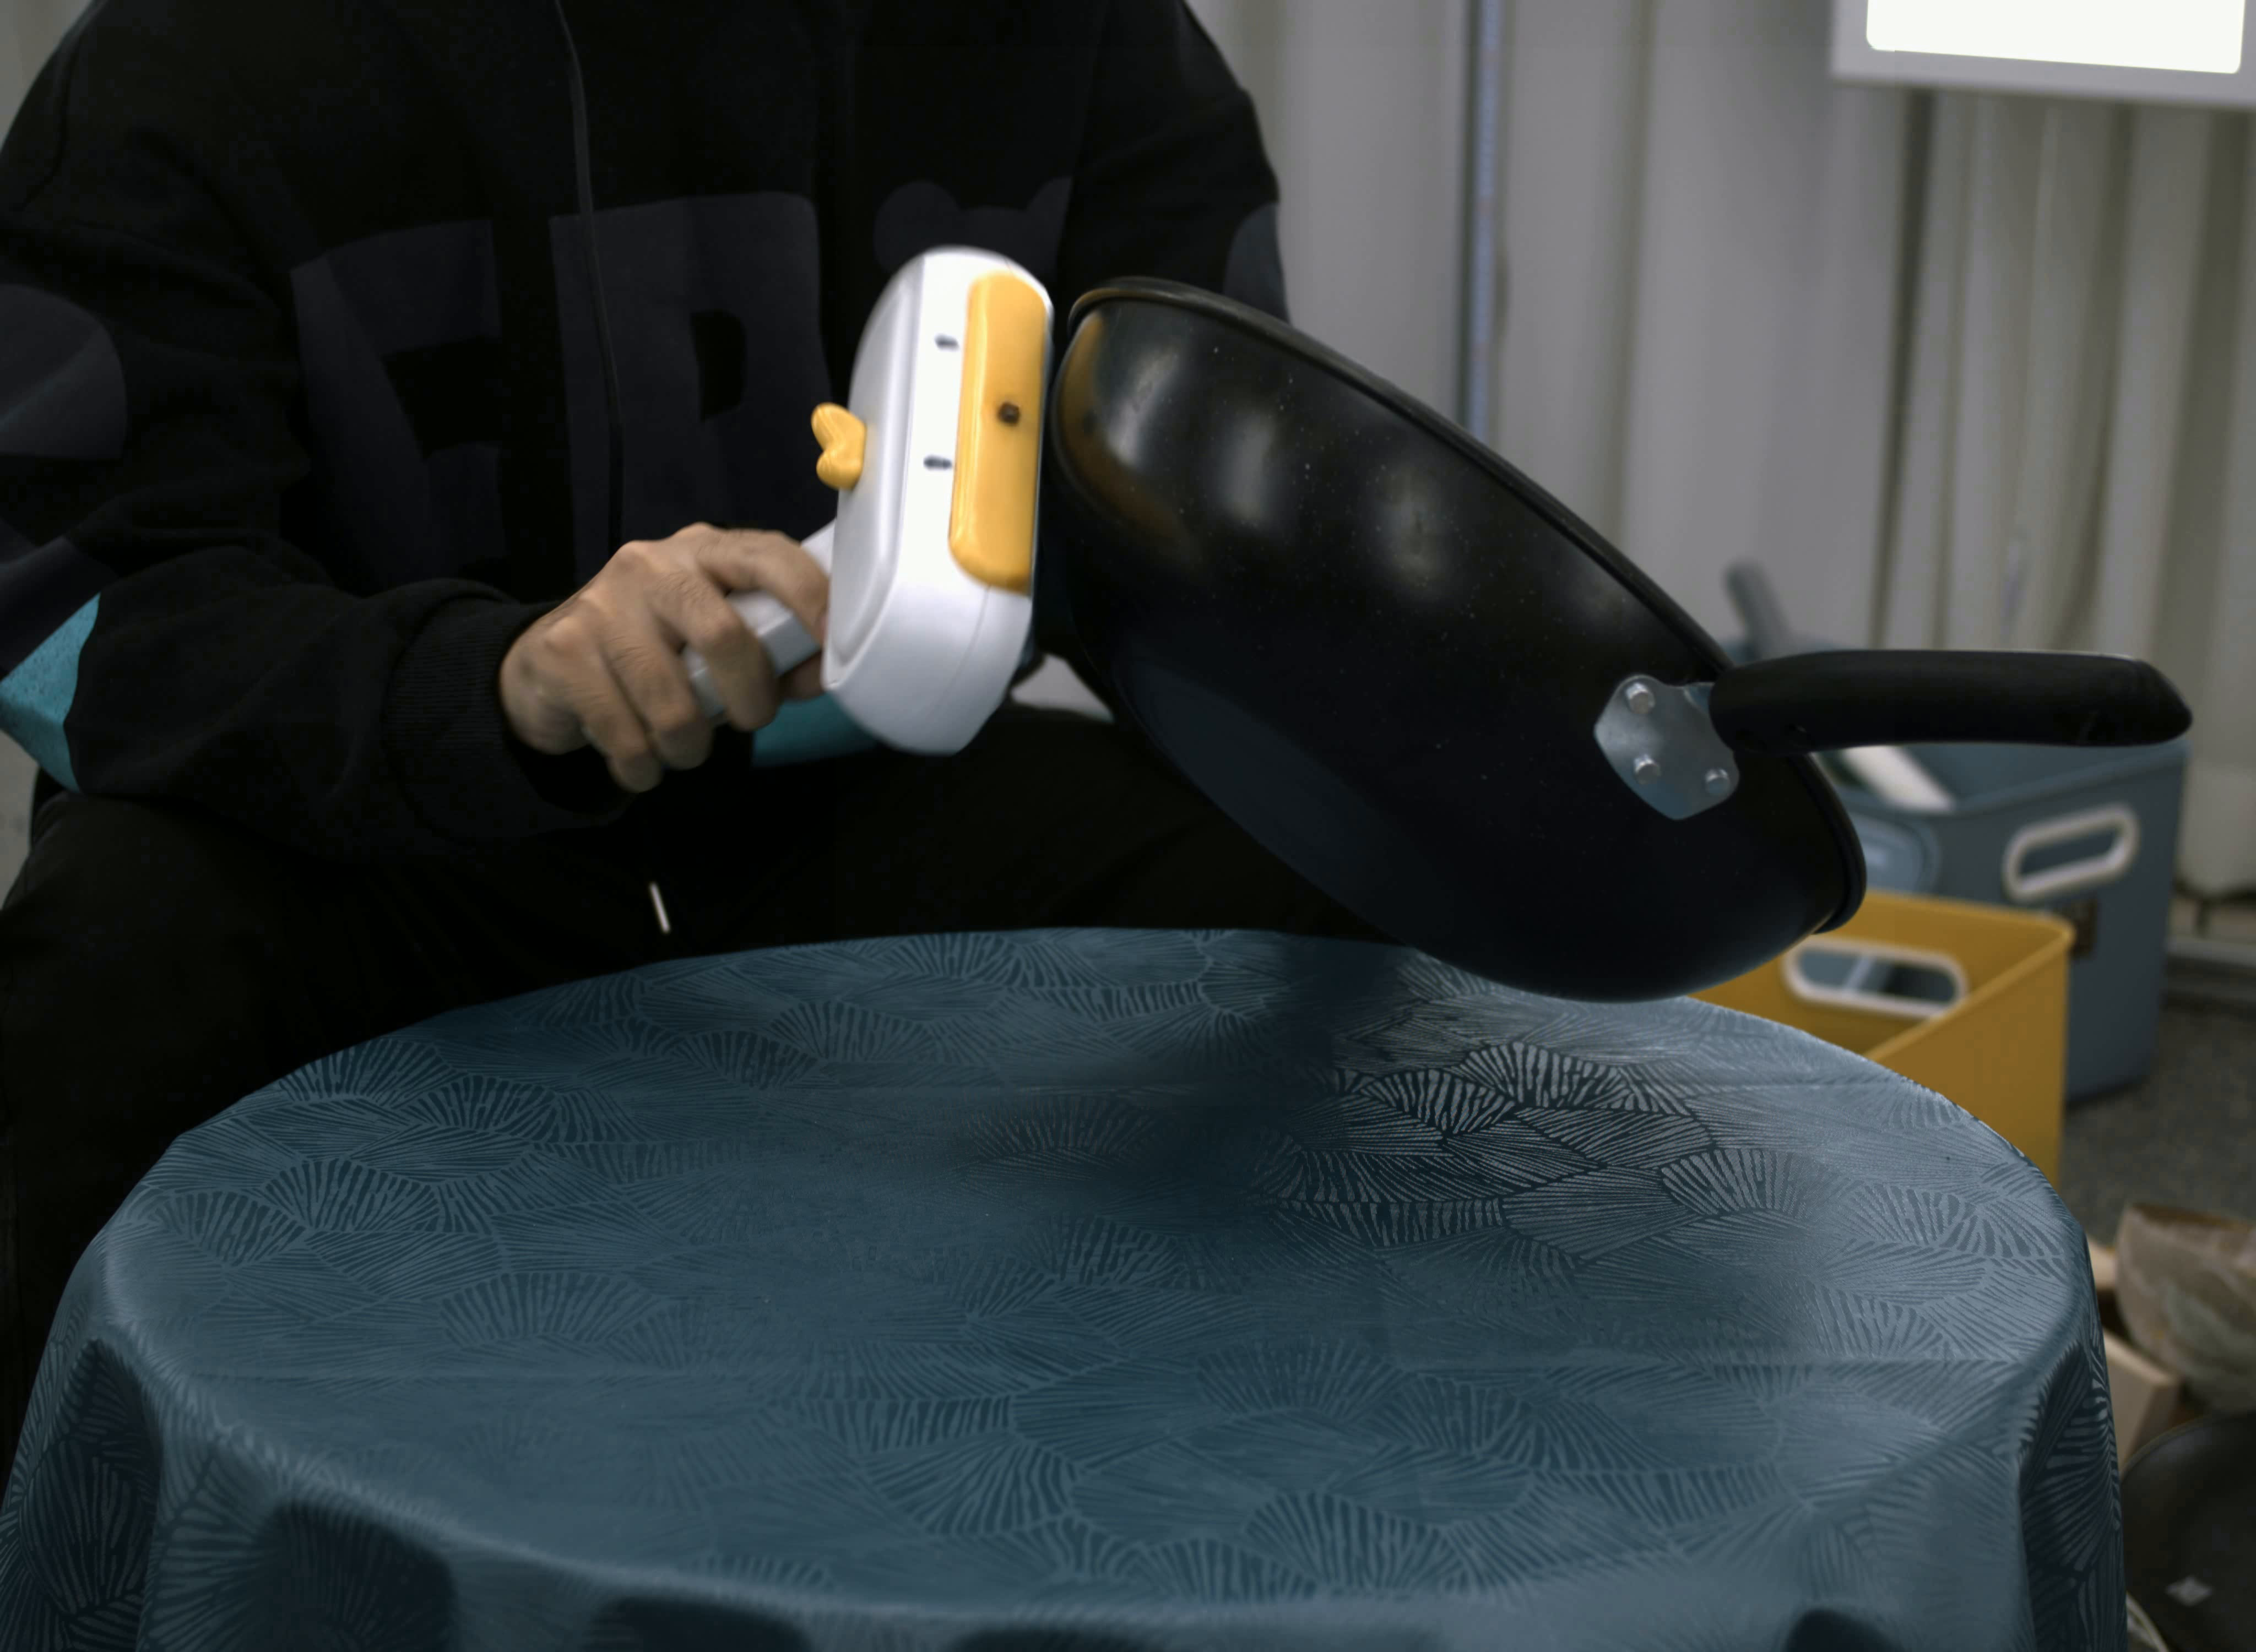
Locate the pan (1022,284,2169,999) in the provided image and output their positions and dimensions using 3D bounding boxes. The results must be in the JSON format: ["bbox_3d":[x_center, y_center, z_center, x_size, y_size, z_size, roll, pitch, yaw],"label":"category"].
[{"bbox_3d":[0.122,-0.032,1.568,0.314,0.111,0.471,43,-13,-29],"label":"pan"}]

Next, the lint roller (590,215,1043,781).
[{"bbox_3d":[-0.097,-0.079,1.654,0.075,0.192,0.191,23,38,-28],"label":"lint roller"}]
